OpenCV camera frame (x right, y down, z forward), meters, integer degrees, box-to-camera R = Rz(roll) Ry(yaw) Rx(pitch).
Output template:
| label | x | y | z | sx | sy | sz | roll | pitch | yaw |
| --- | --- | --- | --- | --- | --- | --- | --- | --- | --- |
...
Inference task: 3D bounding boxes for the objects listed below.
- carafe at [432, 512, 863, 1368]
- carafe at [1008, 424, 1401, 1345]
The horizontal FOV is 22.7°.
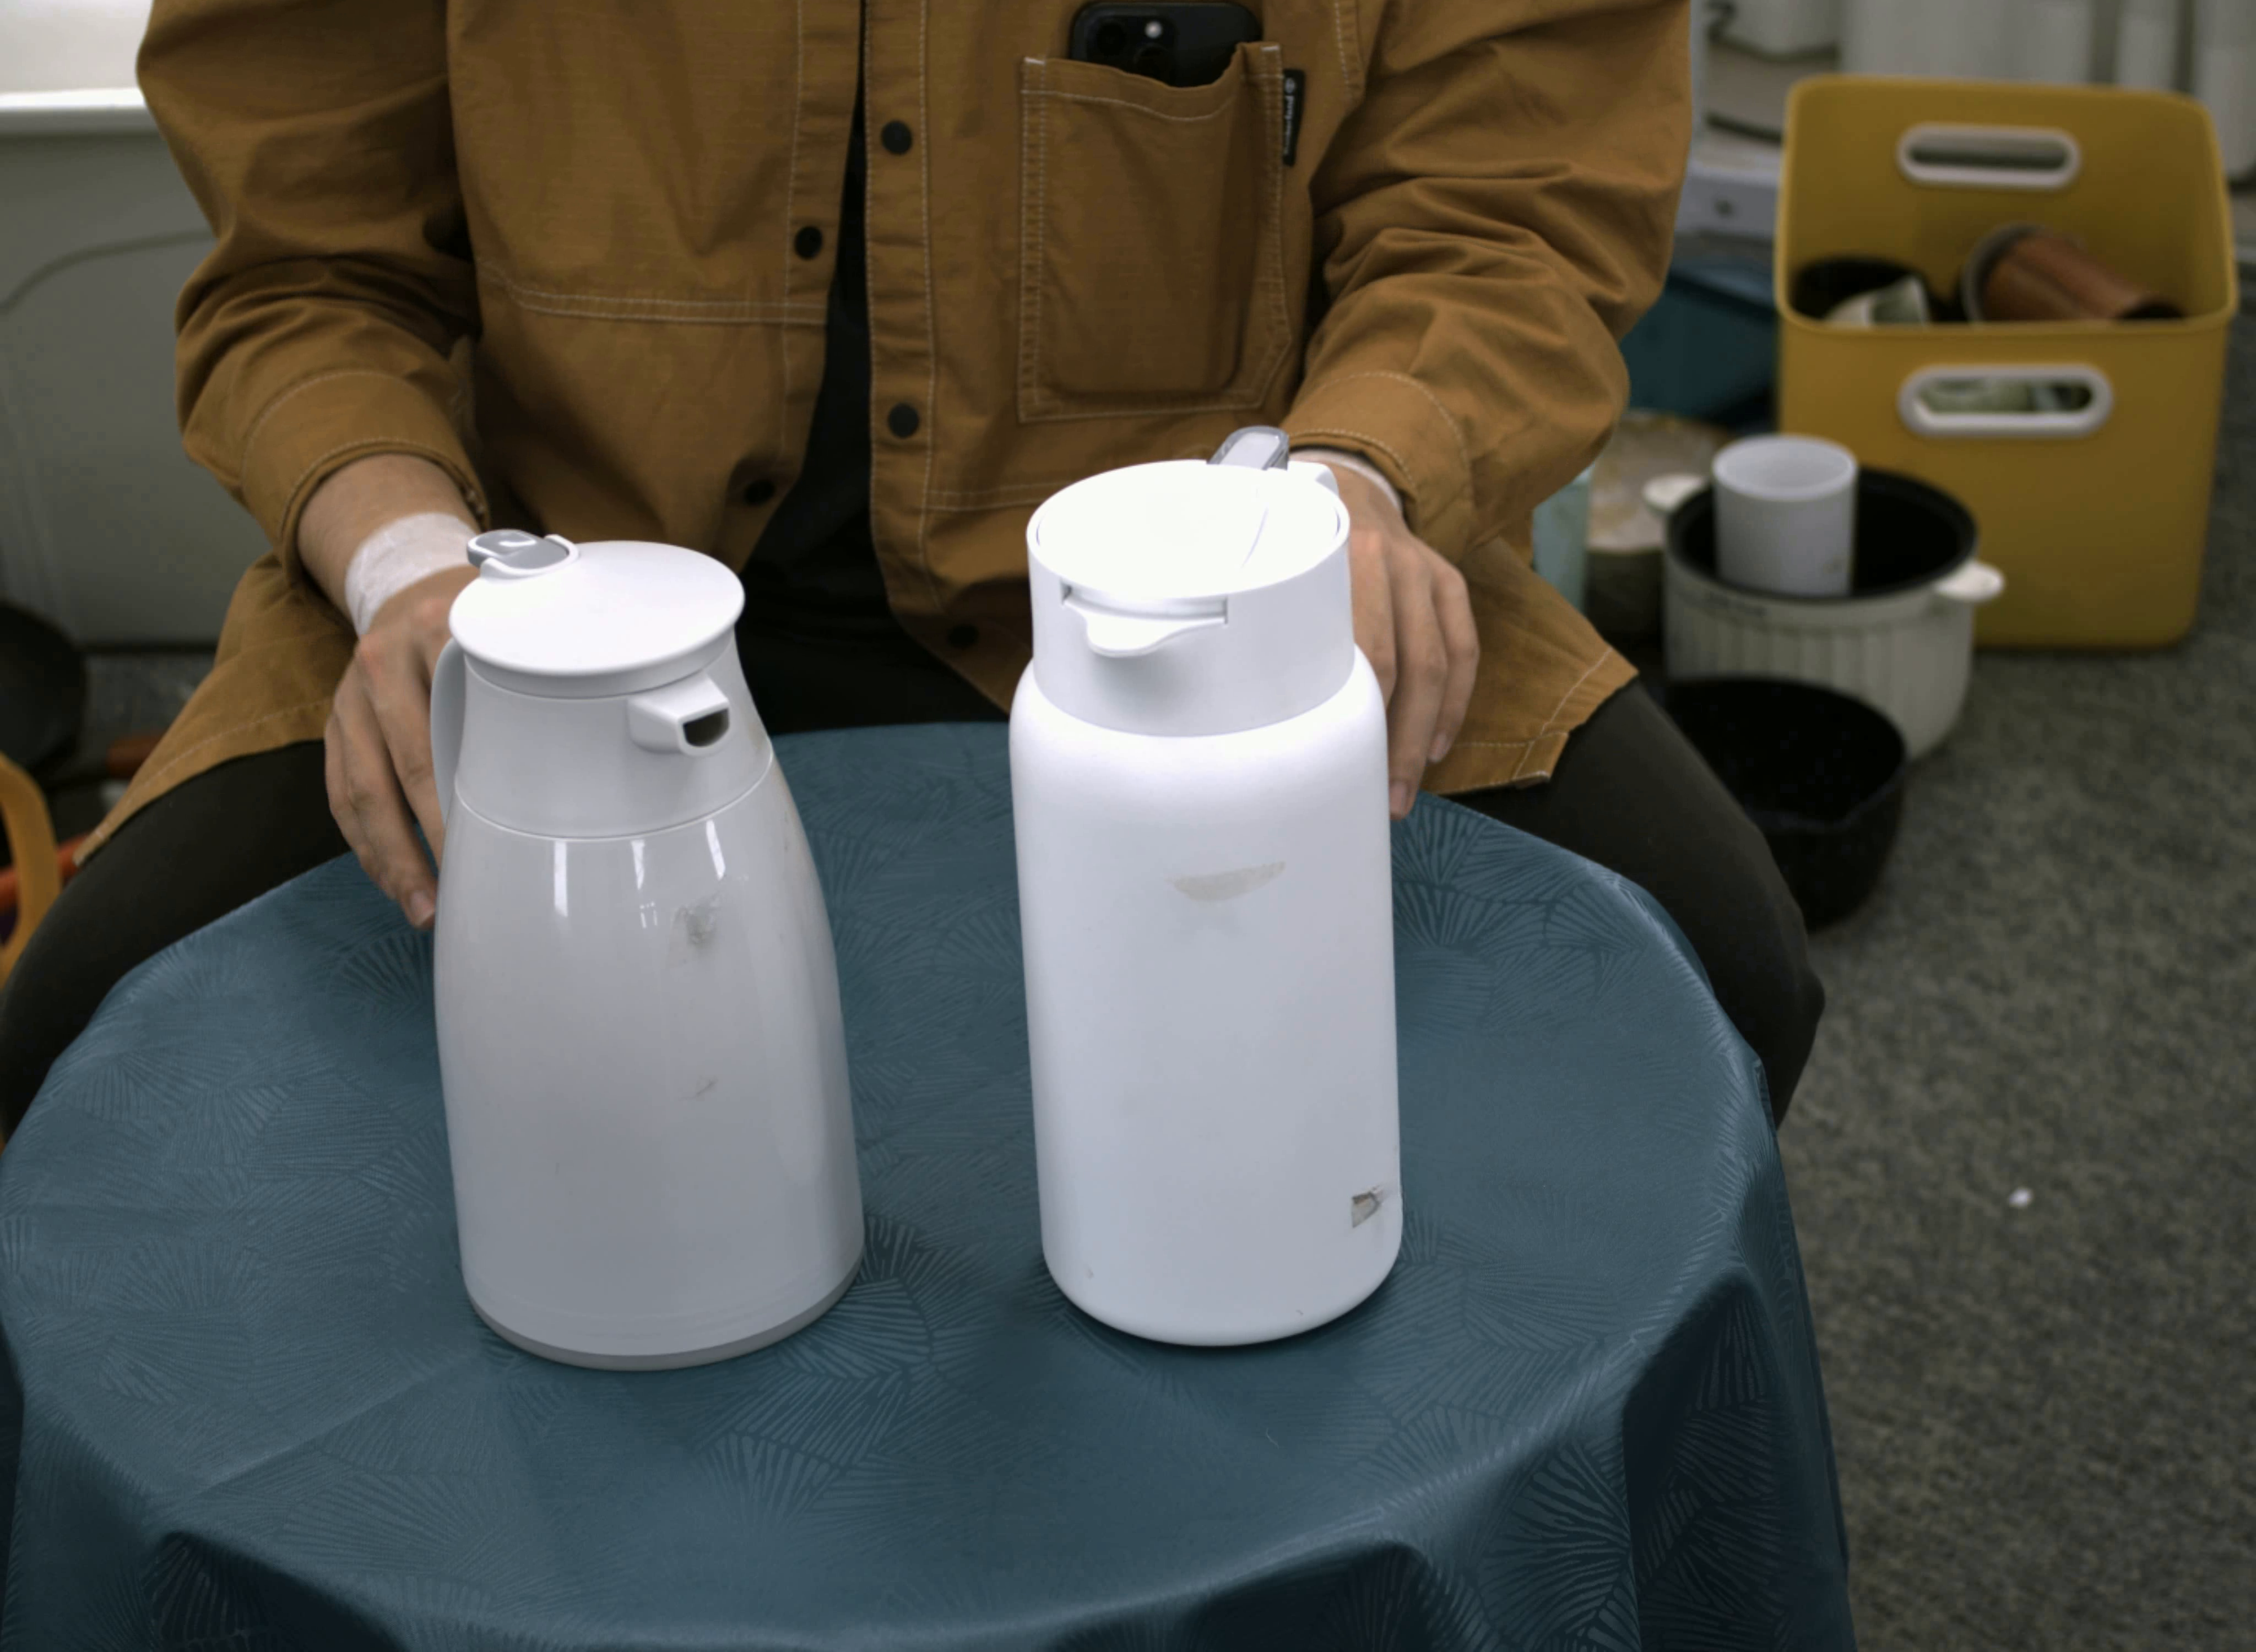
| label | x | y | z | sx | sy | sz | roll | pitch | yaw |
| --- | --- | --- | --- | --- | --- | --- | --- | --- | --- |
| carafe | -0.170 | 0.026 | 1.791 | 0.133 | 0.246 | 0.168 | -20 | 29 | -31 |
| carafe | 0.028 | 0.015 | 1.775 | 0.123 | 0.266 | 0.176 | 4 | 27 | 19 |
